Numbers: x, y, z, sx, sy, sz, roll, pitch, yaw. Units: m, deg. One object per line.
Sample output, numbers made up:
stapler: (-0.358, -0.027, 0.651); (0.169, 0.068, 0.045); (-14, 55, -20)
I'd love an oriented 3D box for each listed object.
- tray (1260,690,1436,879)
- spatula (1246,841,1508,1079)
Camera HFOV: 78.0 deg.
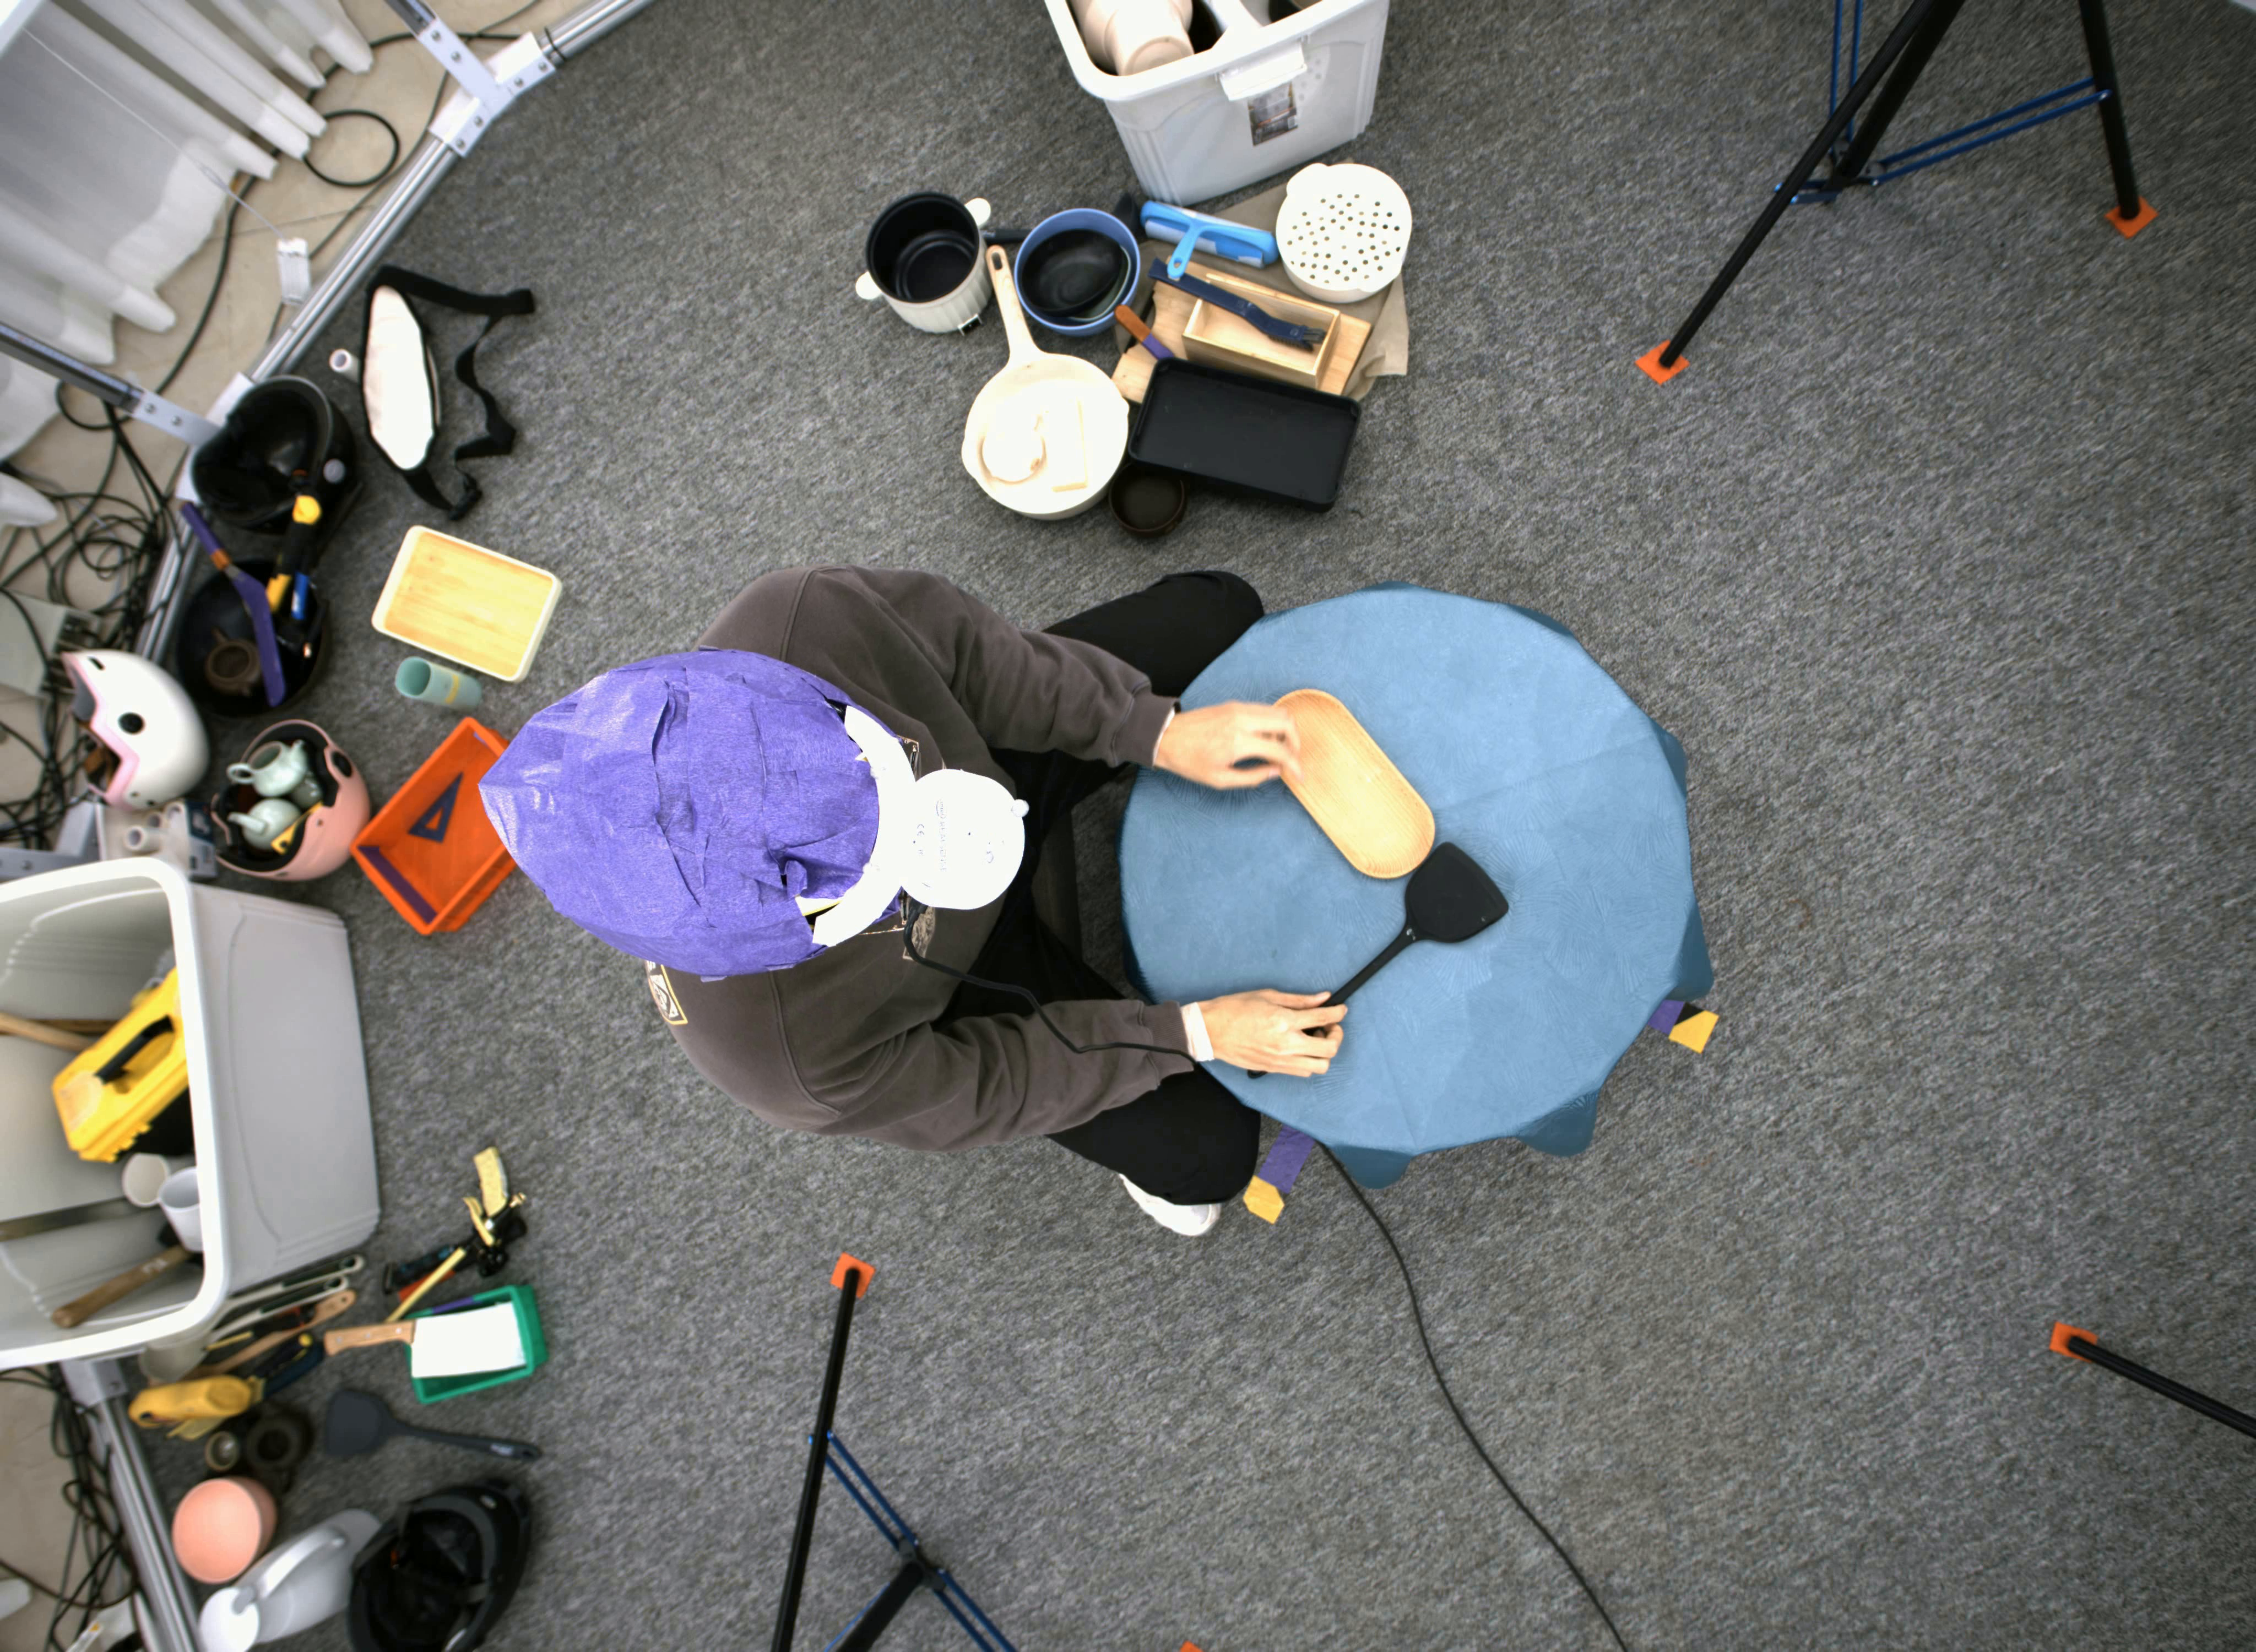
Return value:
tray: (0.232, -0.046, 1.462); (0.102, 0.020, 0.230); (-40, 82, 7)
spatula: (0.245, 0.153, 1.440); (0.327, 0.040, 0.099); (-42, 81, 6)
